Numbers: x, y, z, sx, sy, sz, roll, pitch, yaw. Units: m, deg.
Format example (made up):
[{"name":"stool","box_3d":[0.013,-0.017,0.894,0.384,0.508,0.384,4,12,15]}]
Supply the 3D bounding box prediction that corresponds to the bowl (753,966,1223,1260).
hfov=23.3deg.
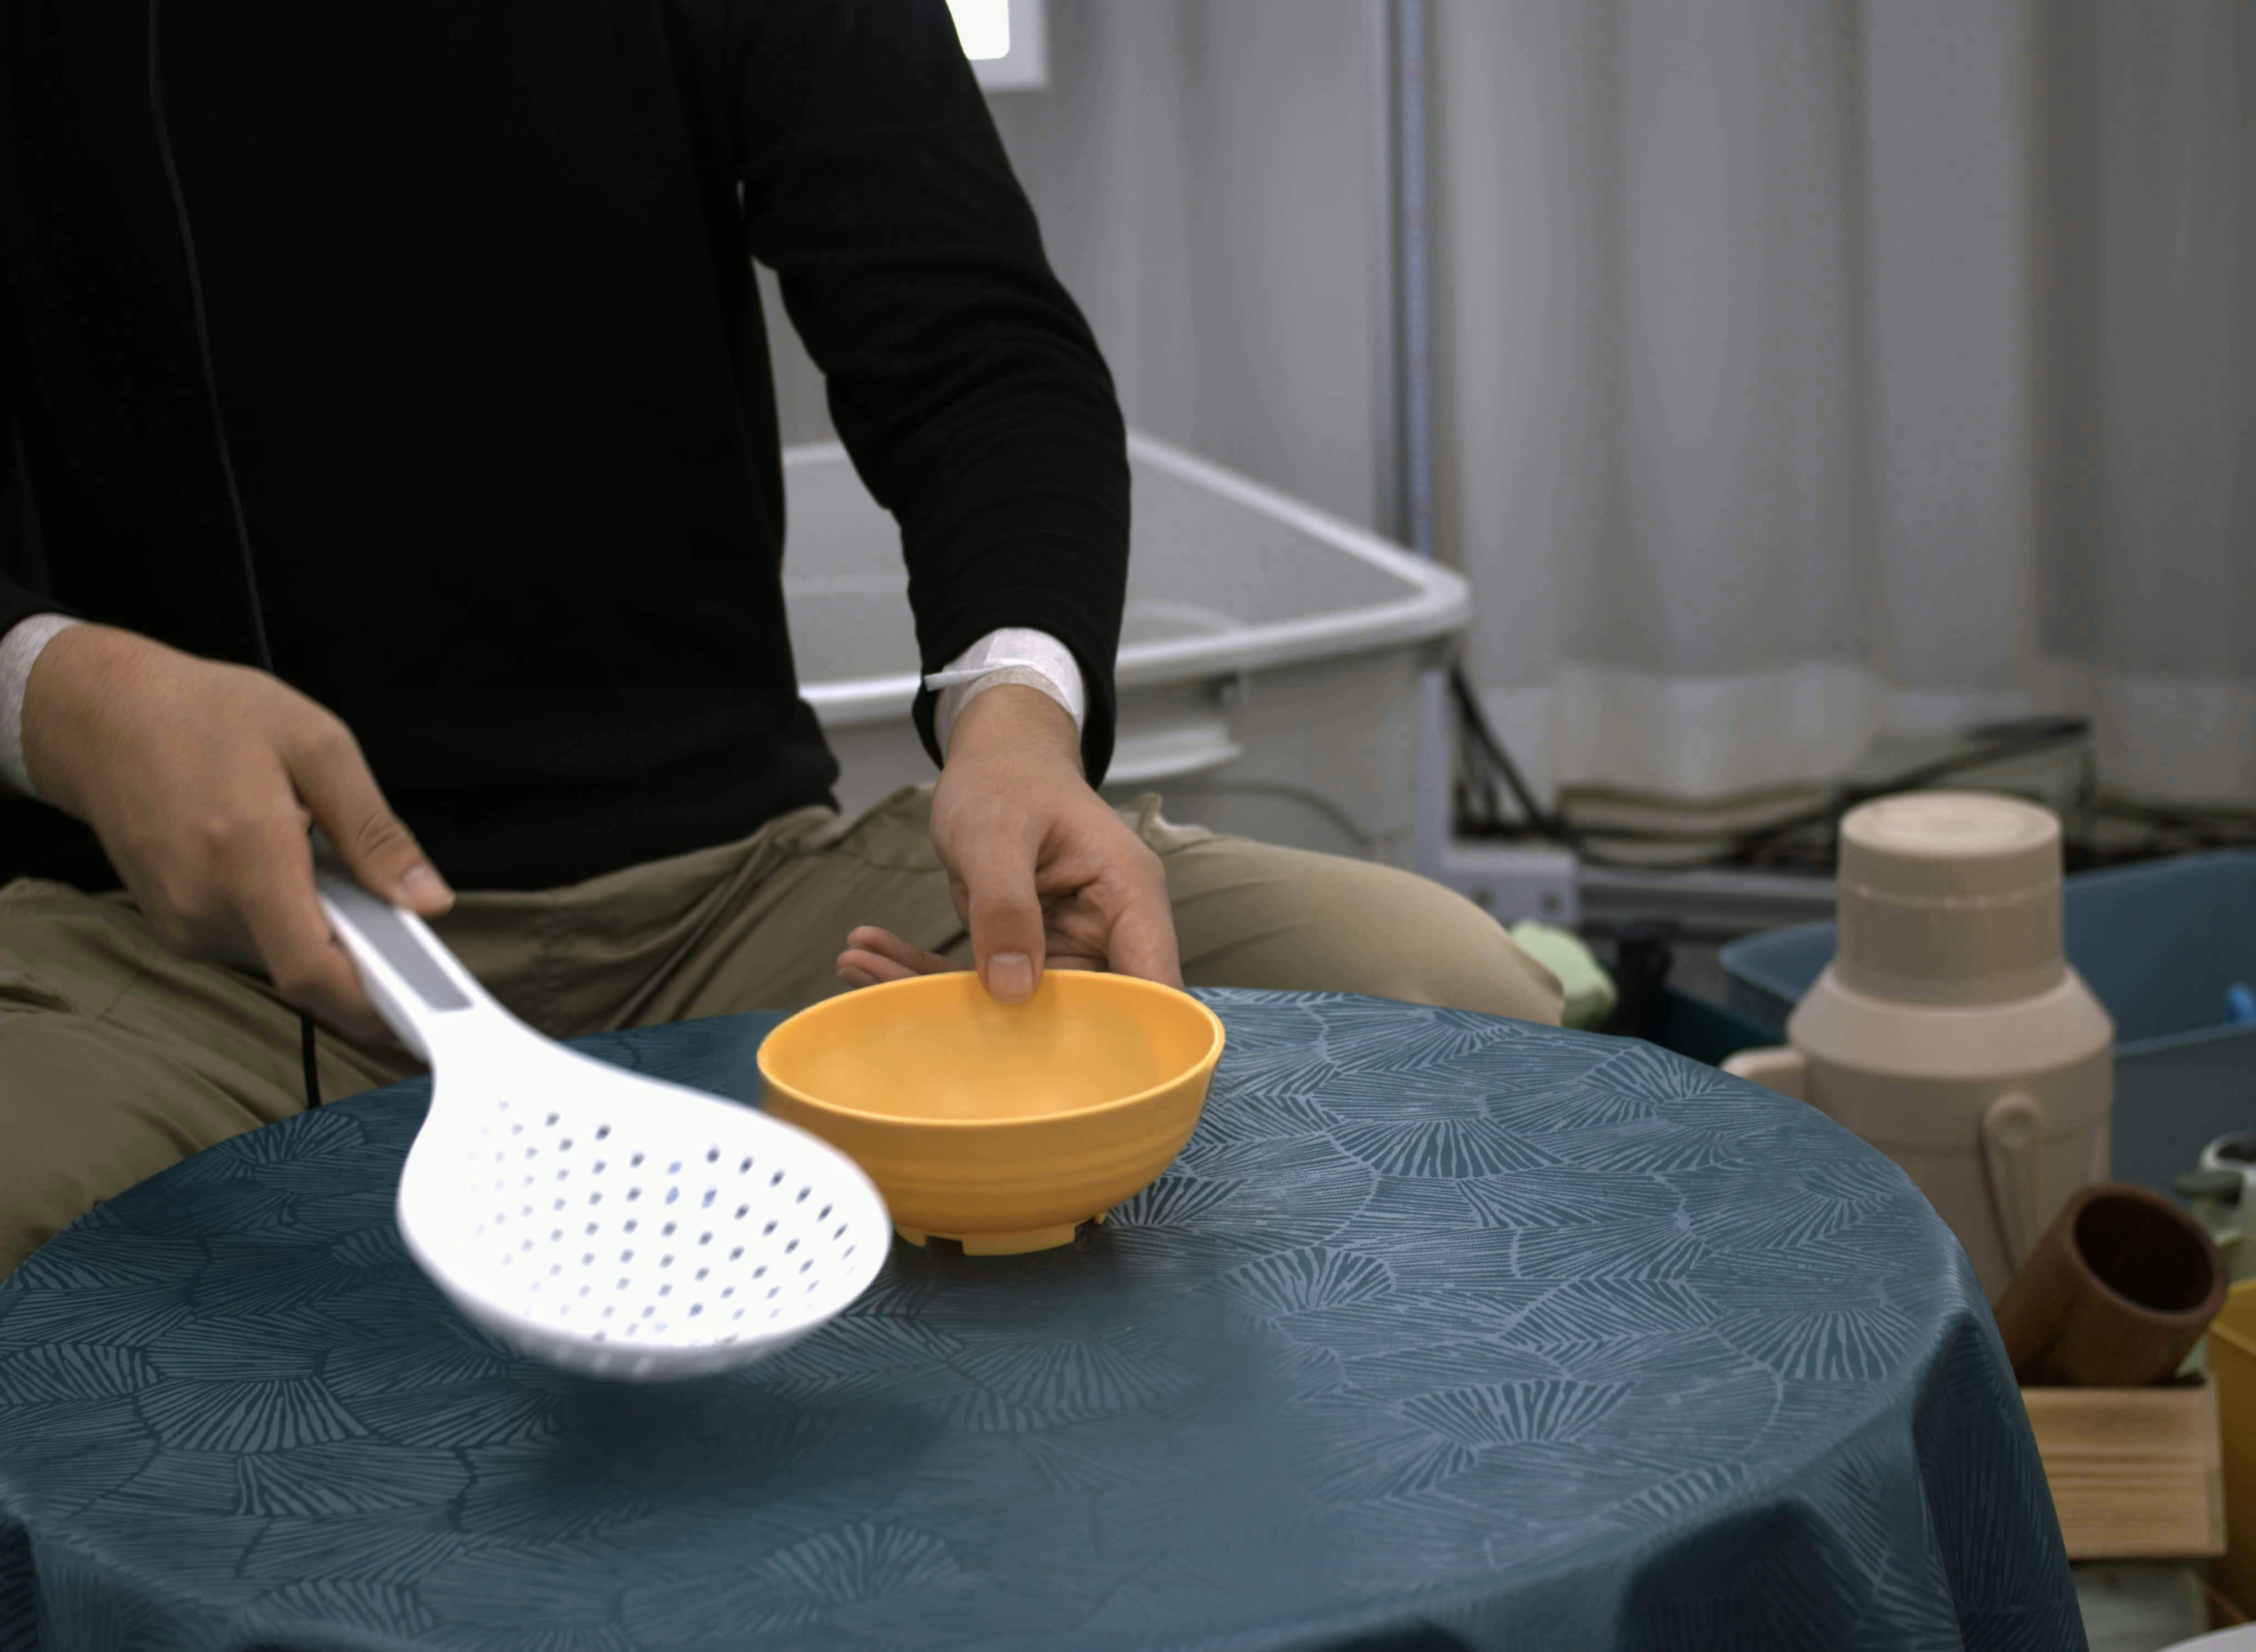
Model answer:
[{"name":"bowl","box_3d":[-0.043,0.095,1.686,0.145,0.060,0.146,-1,17,0]}]

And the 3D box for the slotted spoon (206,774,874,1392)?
[{"name":"slotted spoon","box_3d":[-0.194,0.069,1.605,0.135,0.045,0.354,-9,36,-30]}]
